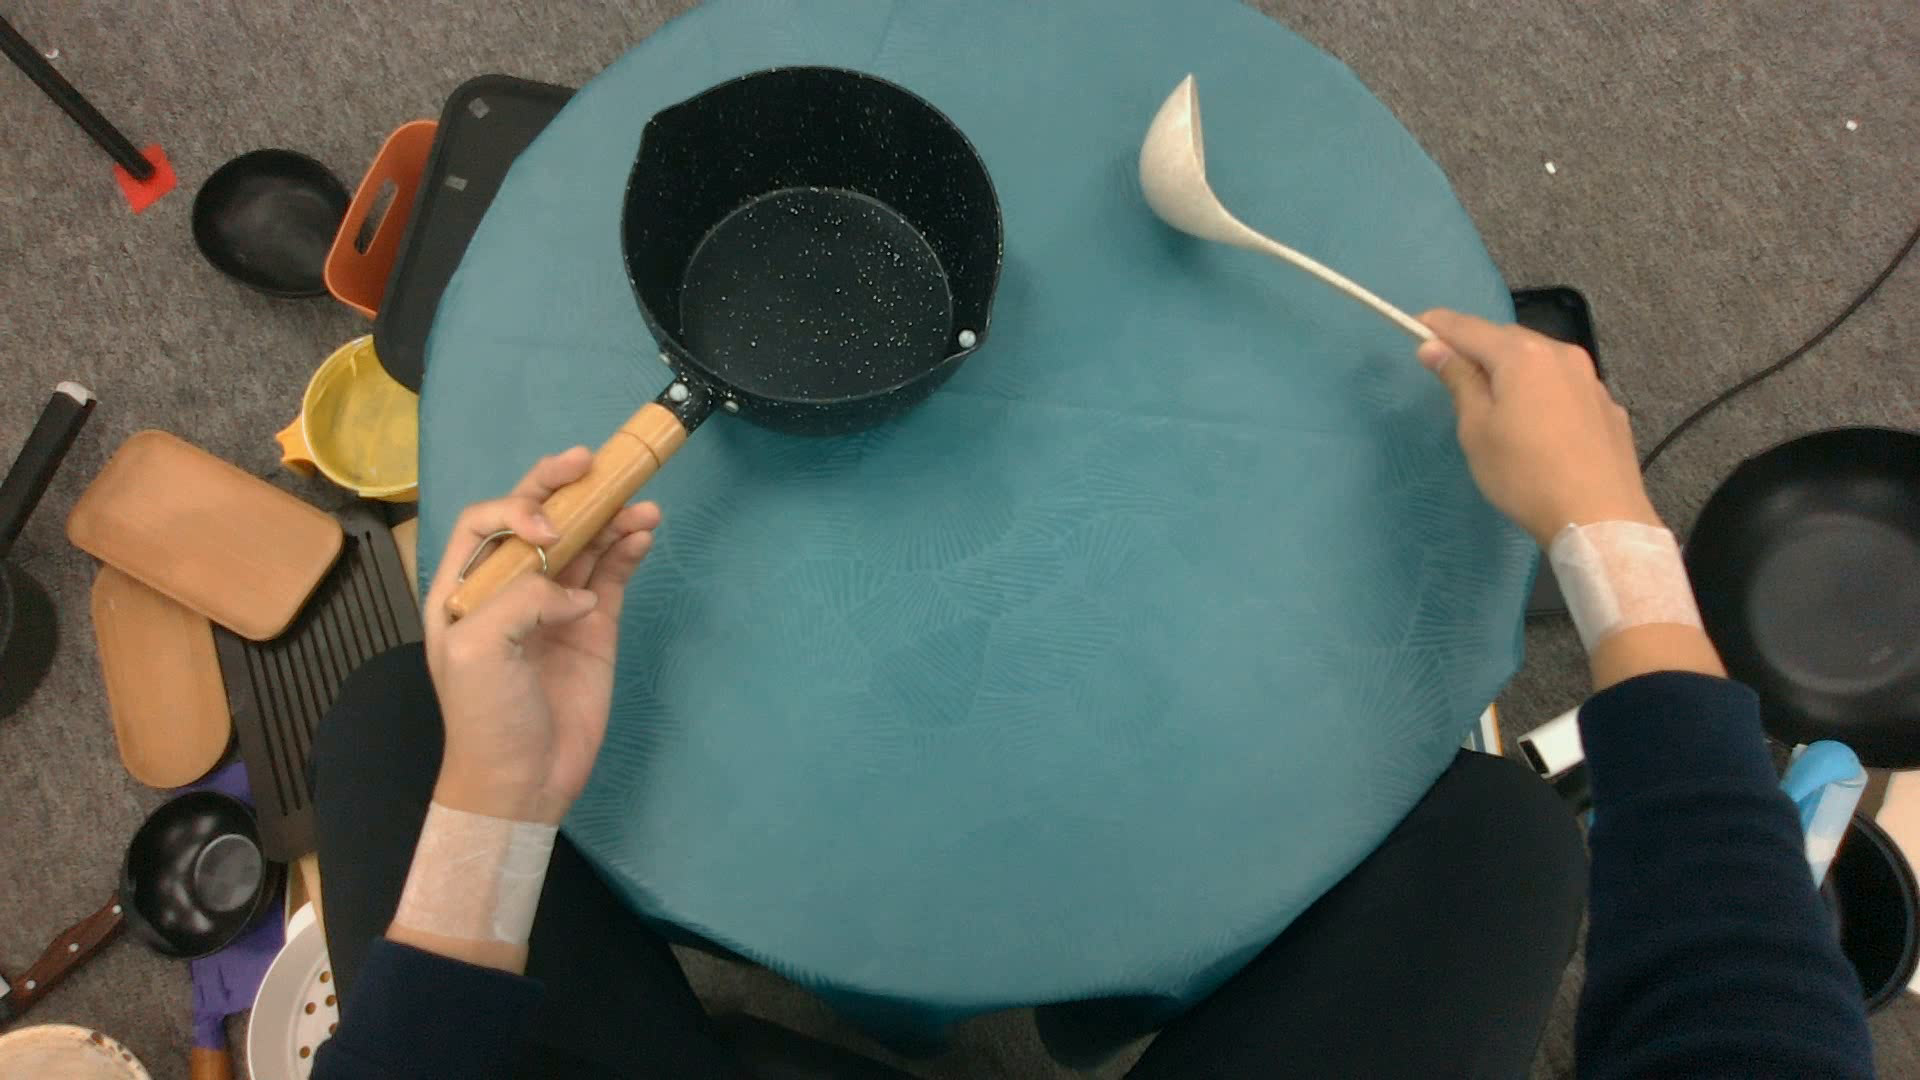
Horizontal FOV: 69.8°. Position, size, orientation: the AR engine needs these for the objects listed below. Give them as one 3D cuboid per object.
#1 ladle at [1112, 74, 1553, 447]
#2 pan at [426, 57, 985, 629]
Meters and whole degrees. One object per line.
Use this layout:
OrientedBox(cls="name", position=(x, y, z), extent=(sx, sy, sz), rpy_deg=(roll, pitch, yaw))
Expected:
OrientedBox(cls="ladle", position=(0.200, -0.148, 0.715), extent=(0.275, 0.089, 0.069), rpy_deg=(33, 91, 11))
OrientedBox(cls="pan", position=(-0.125, -0.084, 0.671), extent=(0.207, 0.108, 0.344), rpy_deg=(33, 70, 4))
